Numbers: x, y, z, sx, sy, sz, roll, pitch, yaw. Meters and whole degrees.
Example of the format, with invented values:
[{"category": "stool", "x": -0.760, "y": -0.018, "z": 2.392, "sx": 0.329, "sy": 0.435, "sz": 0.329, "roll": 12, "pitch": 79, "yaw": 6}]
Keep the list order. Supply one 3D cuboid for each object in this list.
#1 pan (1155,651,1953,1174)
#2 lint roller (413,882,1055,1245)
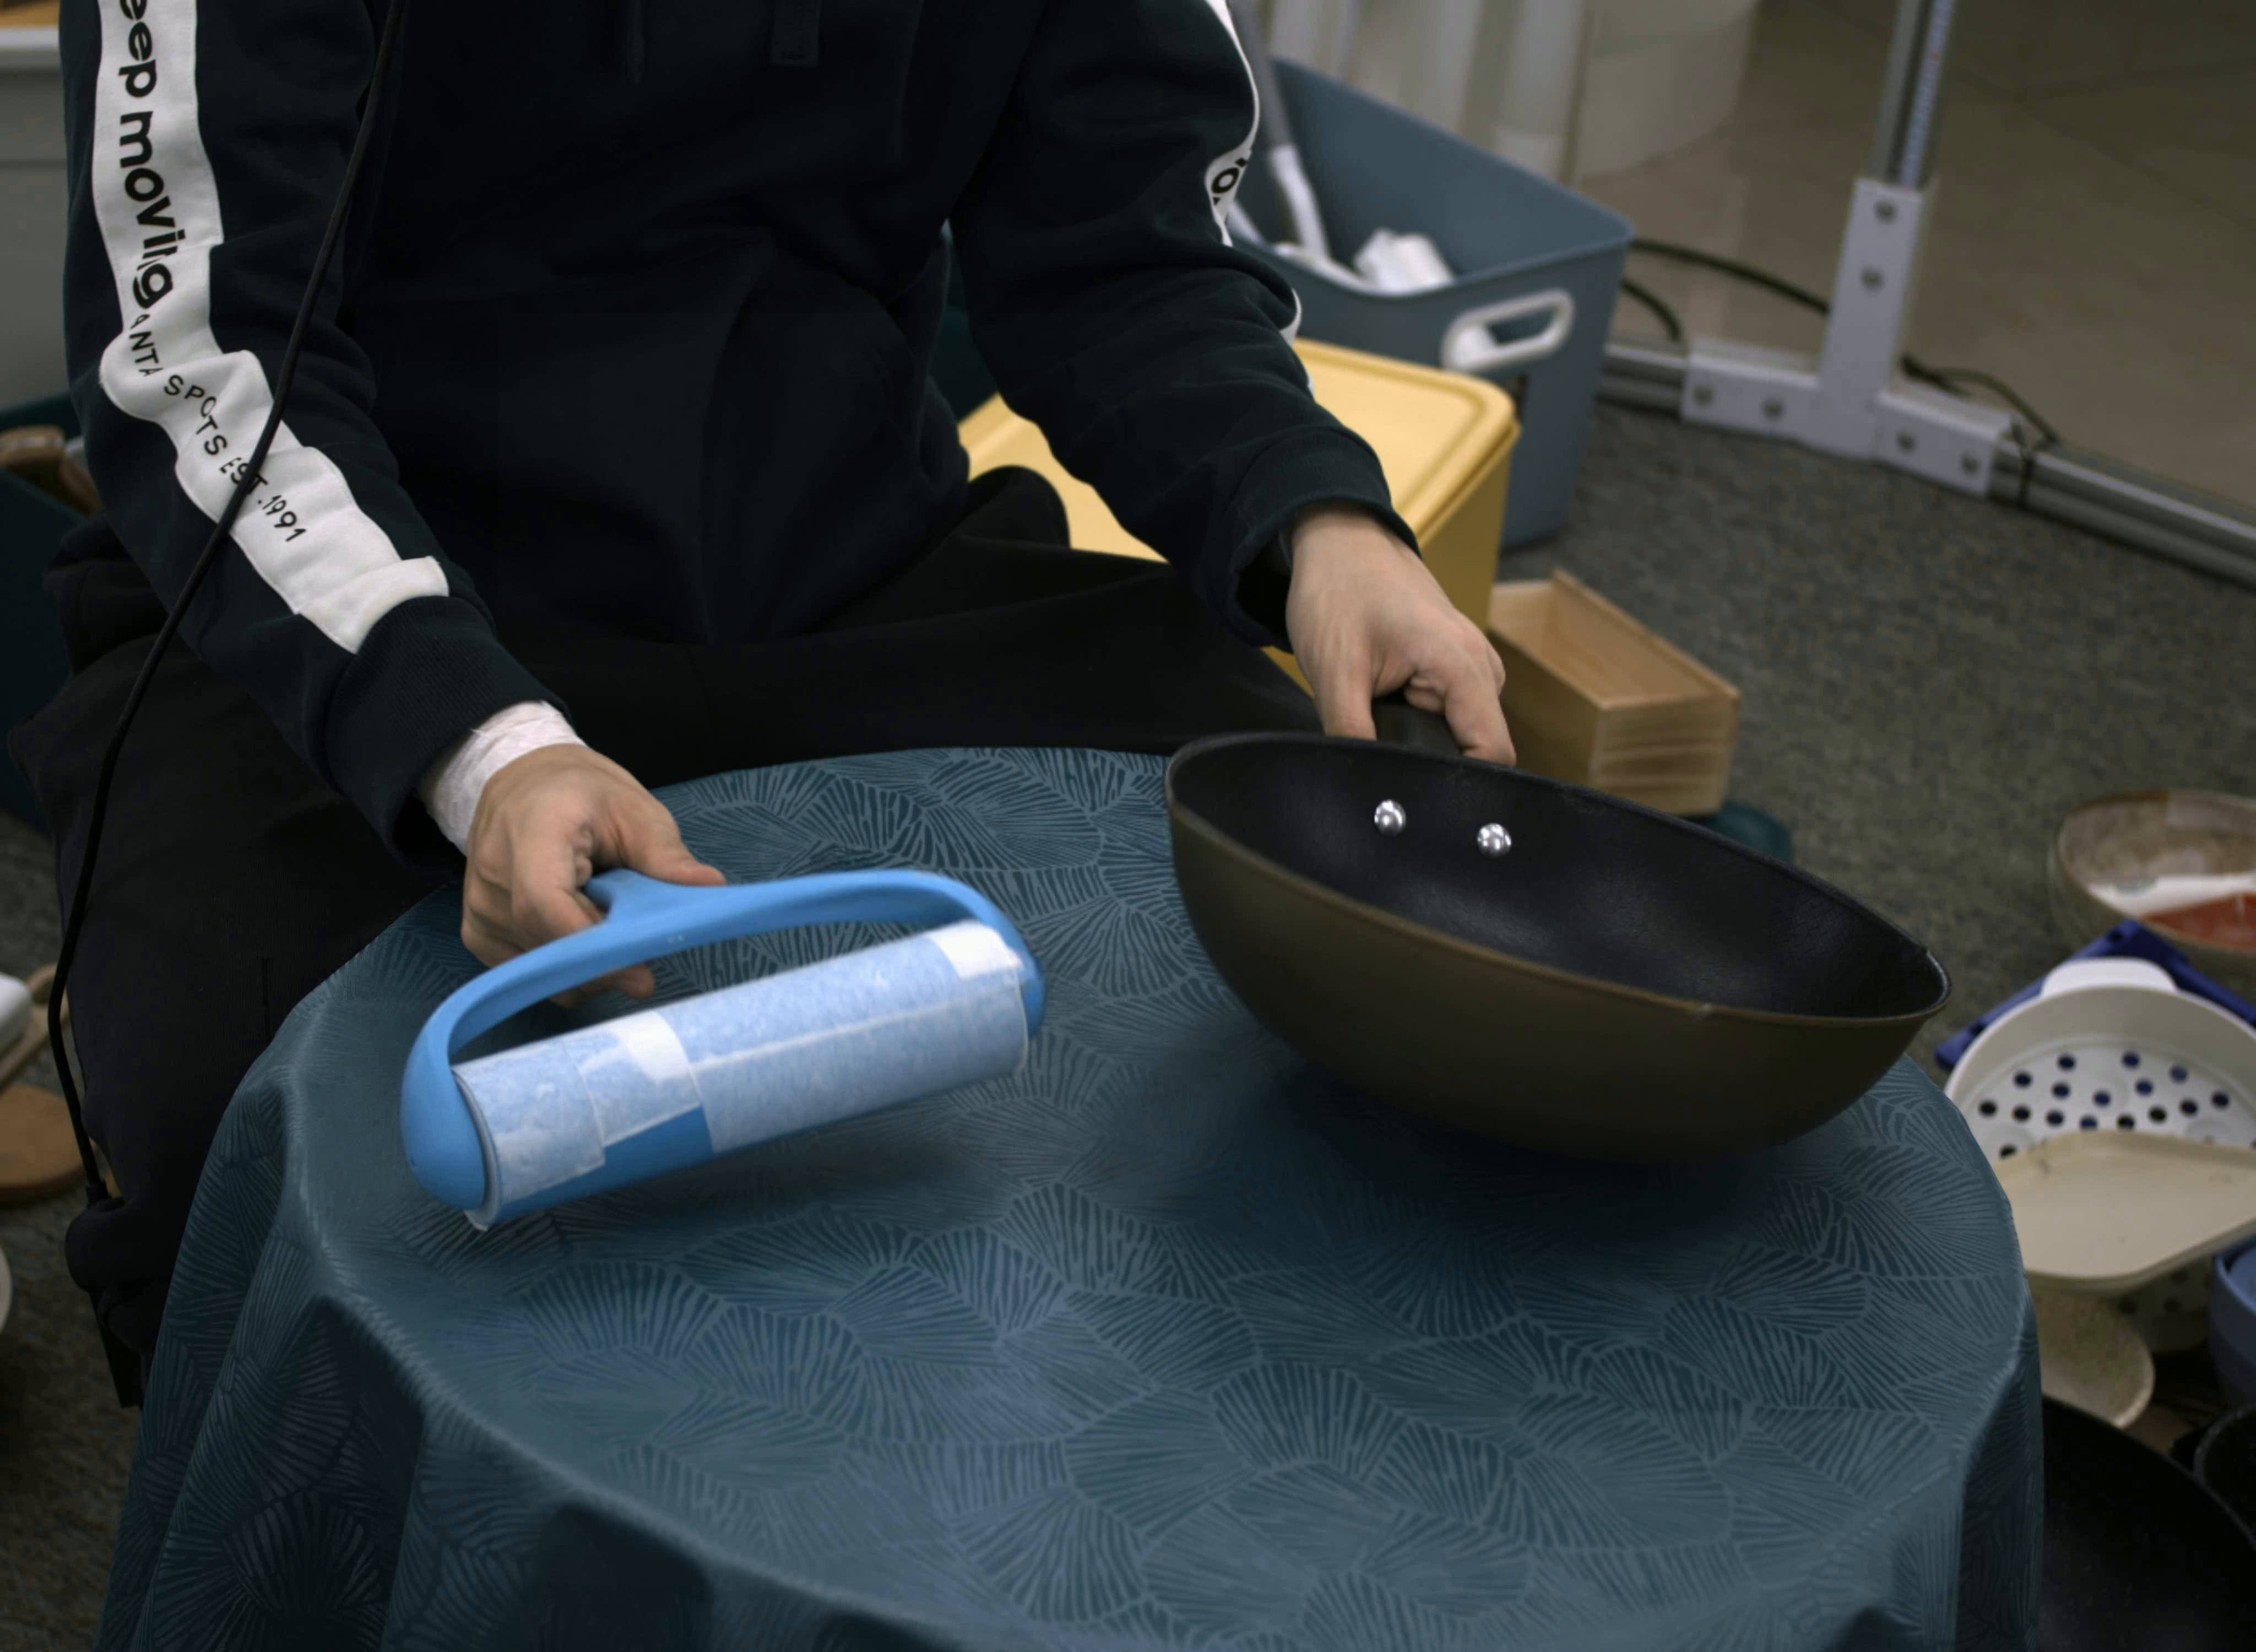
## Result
[{"category": "pan", "x": 0.119, "y": 0.028, "z": 1.926, "sx": 0.286, "sy": 0.087, "sz": 0.466, "roll": 11, "pitch": 14, "yaw": -15}, {"category": "lint roller", "x": -0.158, "y": 0.057, "z": 1.793, "sx": 0.228, "sy": 0.067, "sz": 0.182, "roll": -19, "pitch": 37, "yaw": -26}]
